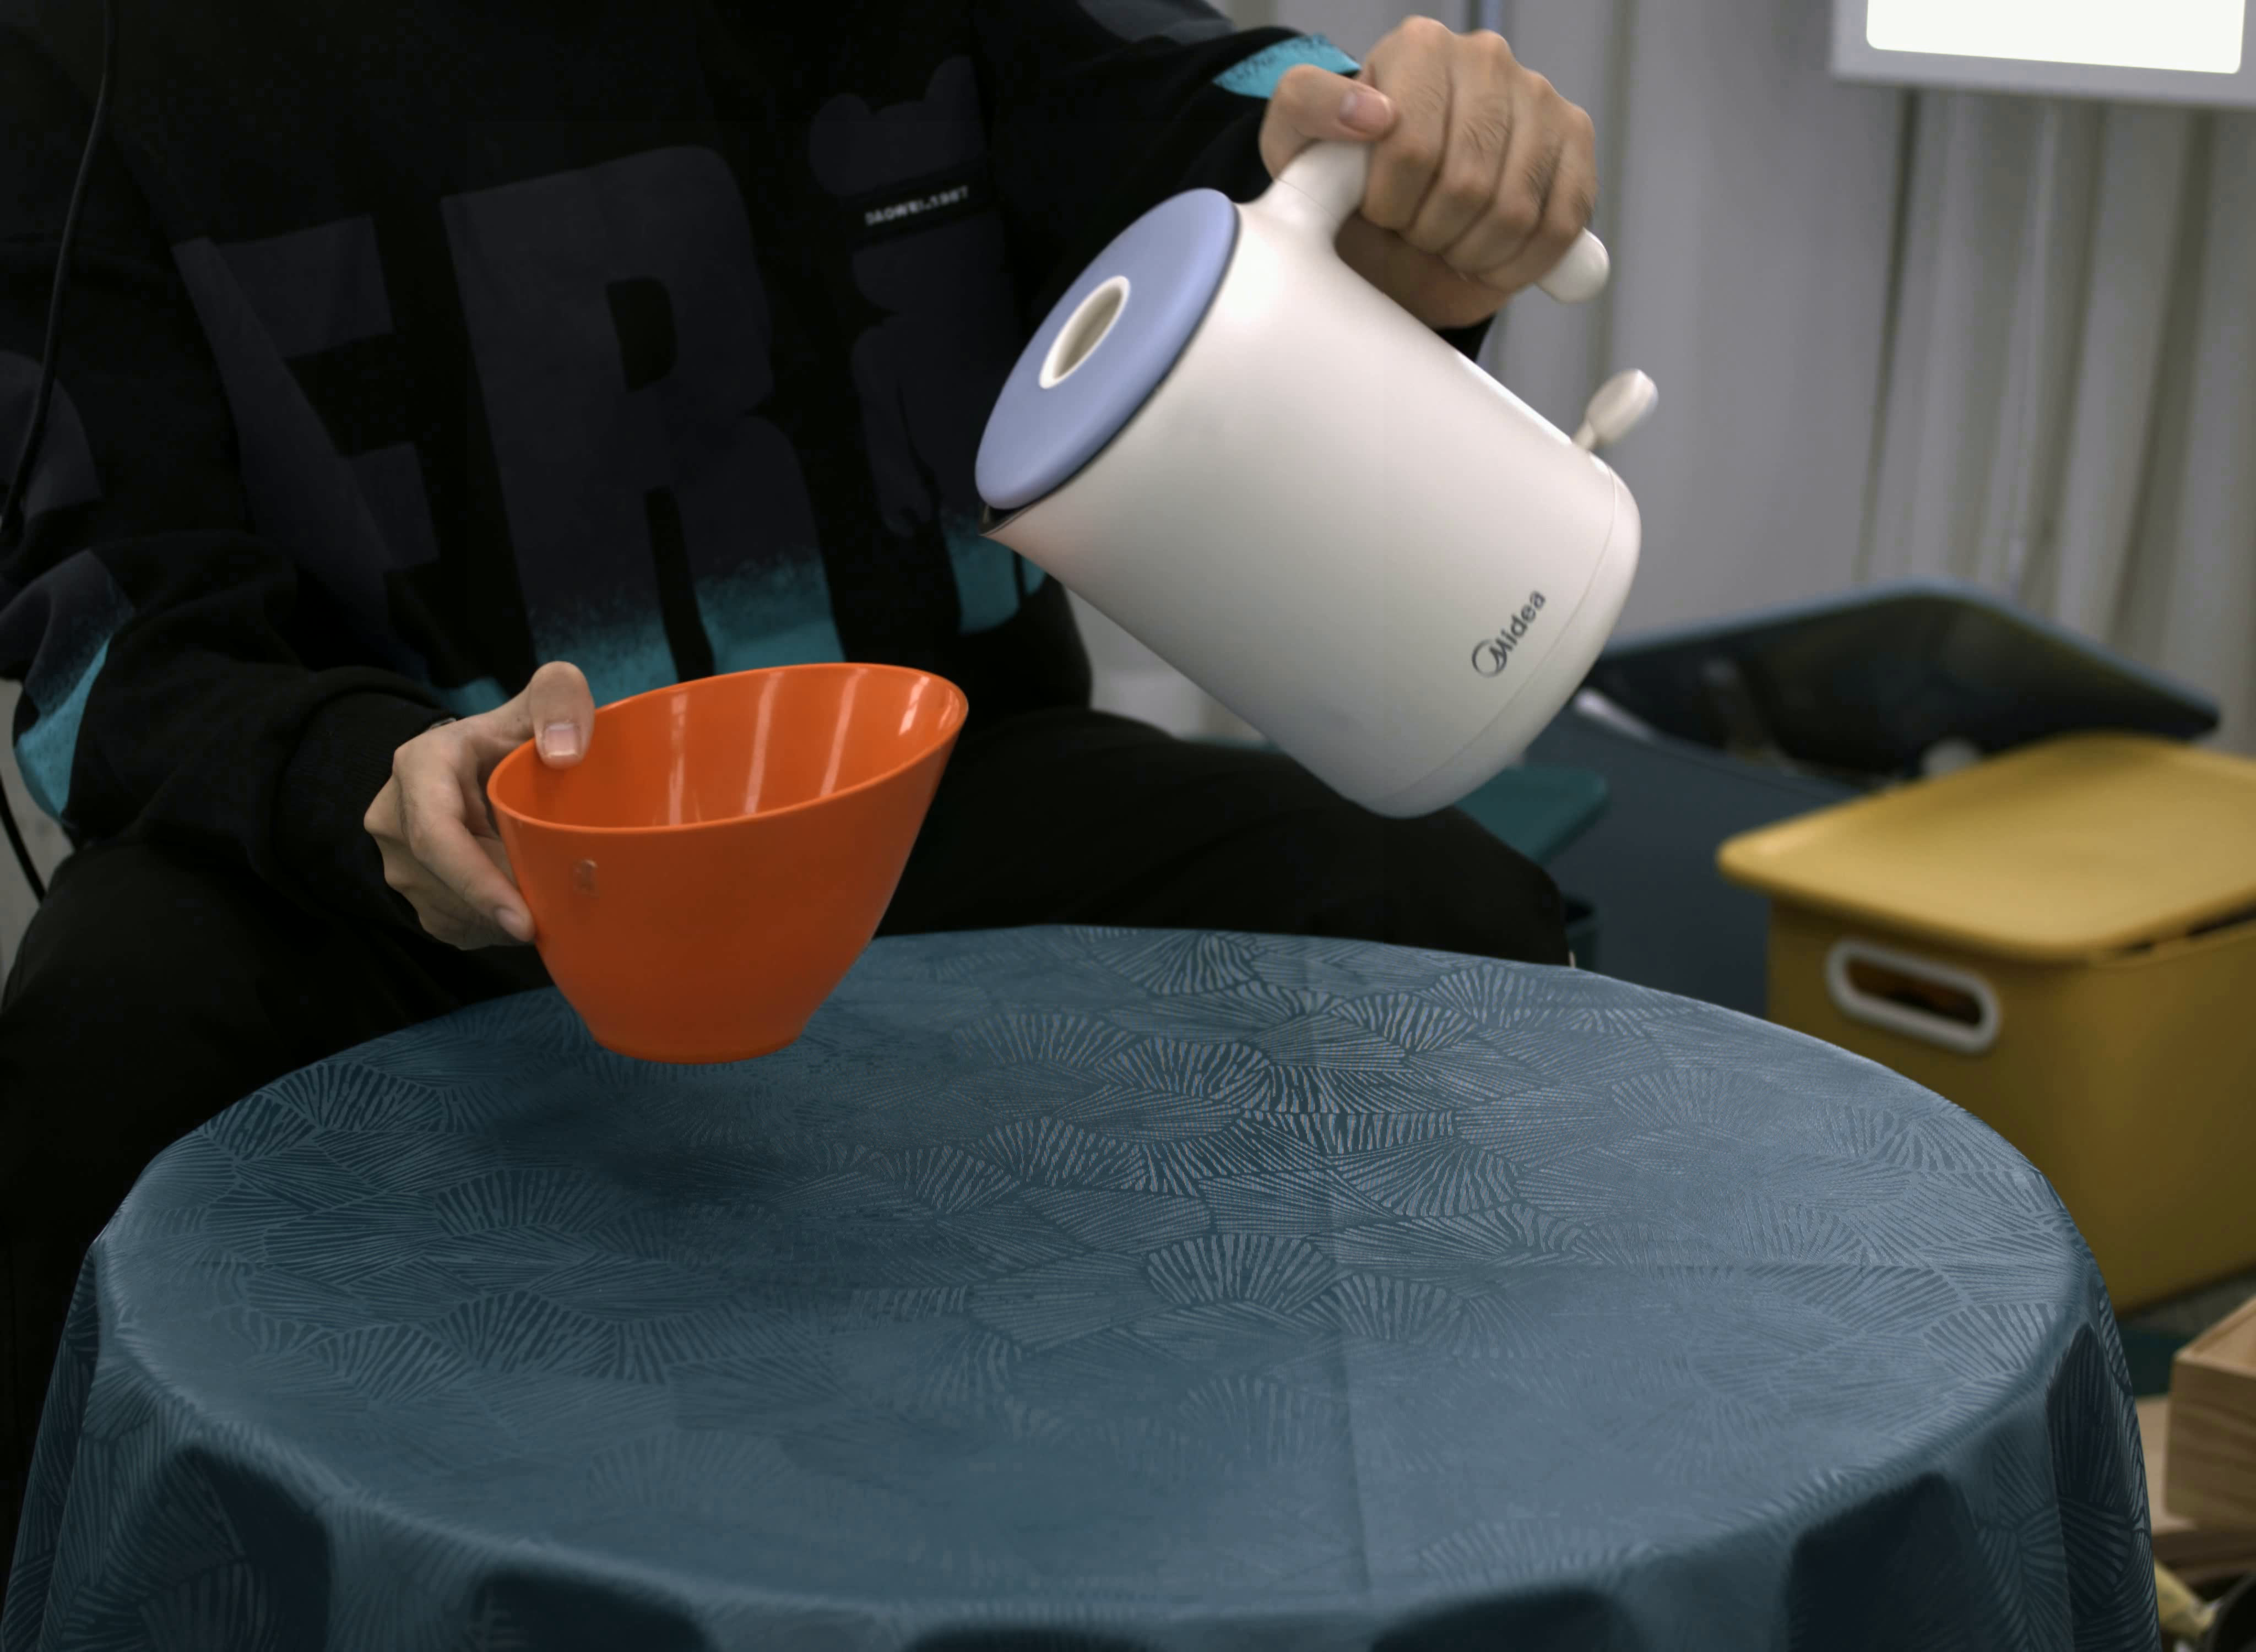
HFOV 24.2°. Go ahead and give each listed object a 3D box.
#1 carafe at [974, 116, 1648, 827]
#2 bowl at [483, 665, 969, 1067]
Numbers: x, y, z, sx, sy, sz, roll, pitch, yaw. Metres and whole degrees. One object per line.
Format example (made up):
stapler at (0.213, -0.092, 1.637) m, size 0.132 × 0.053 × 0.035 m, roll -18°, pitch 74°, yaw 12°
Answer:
carafe at (0.070, -0.118, 1.619) m, size 0.184 × 0.191 × 0.131 m, roll 40°, pitch -5°, yaw -21°
bowl at (-0.123, 0.014, 1.611) m, size 0.147 × 0.105 × 0.147 m, roll 2°, pitch 18°, yaw 0°
